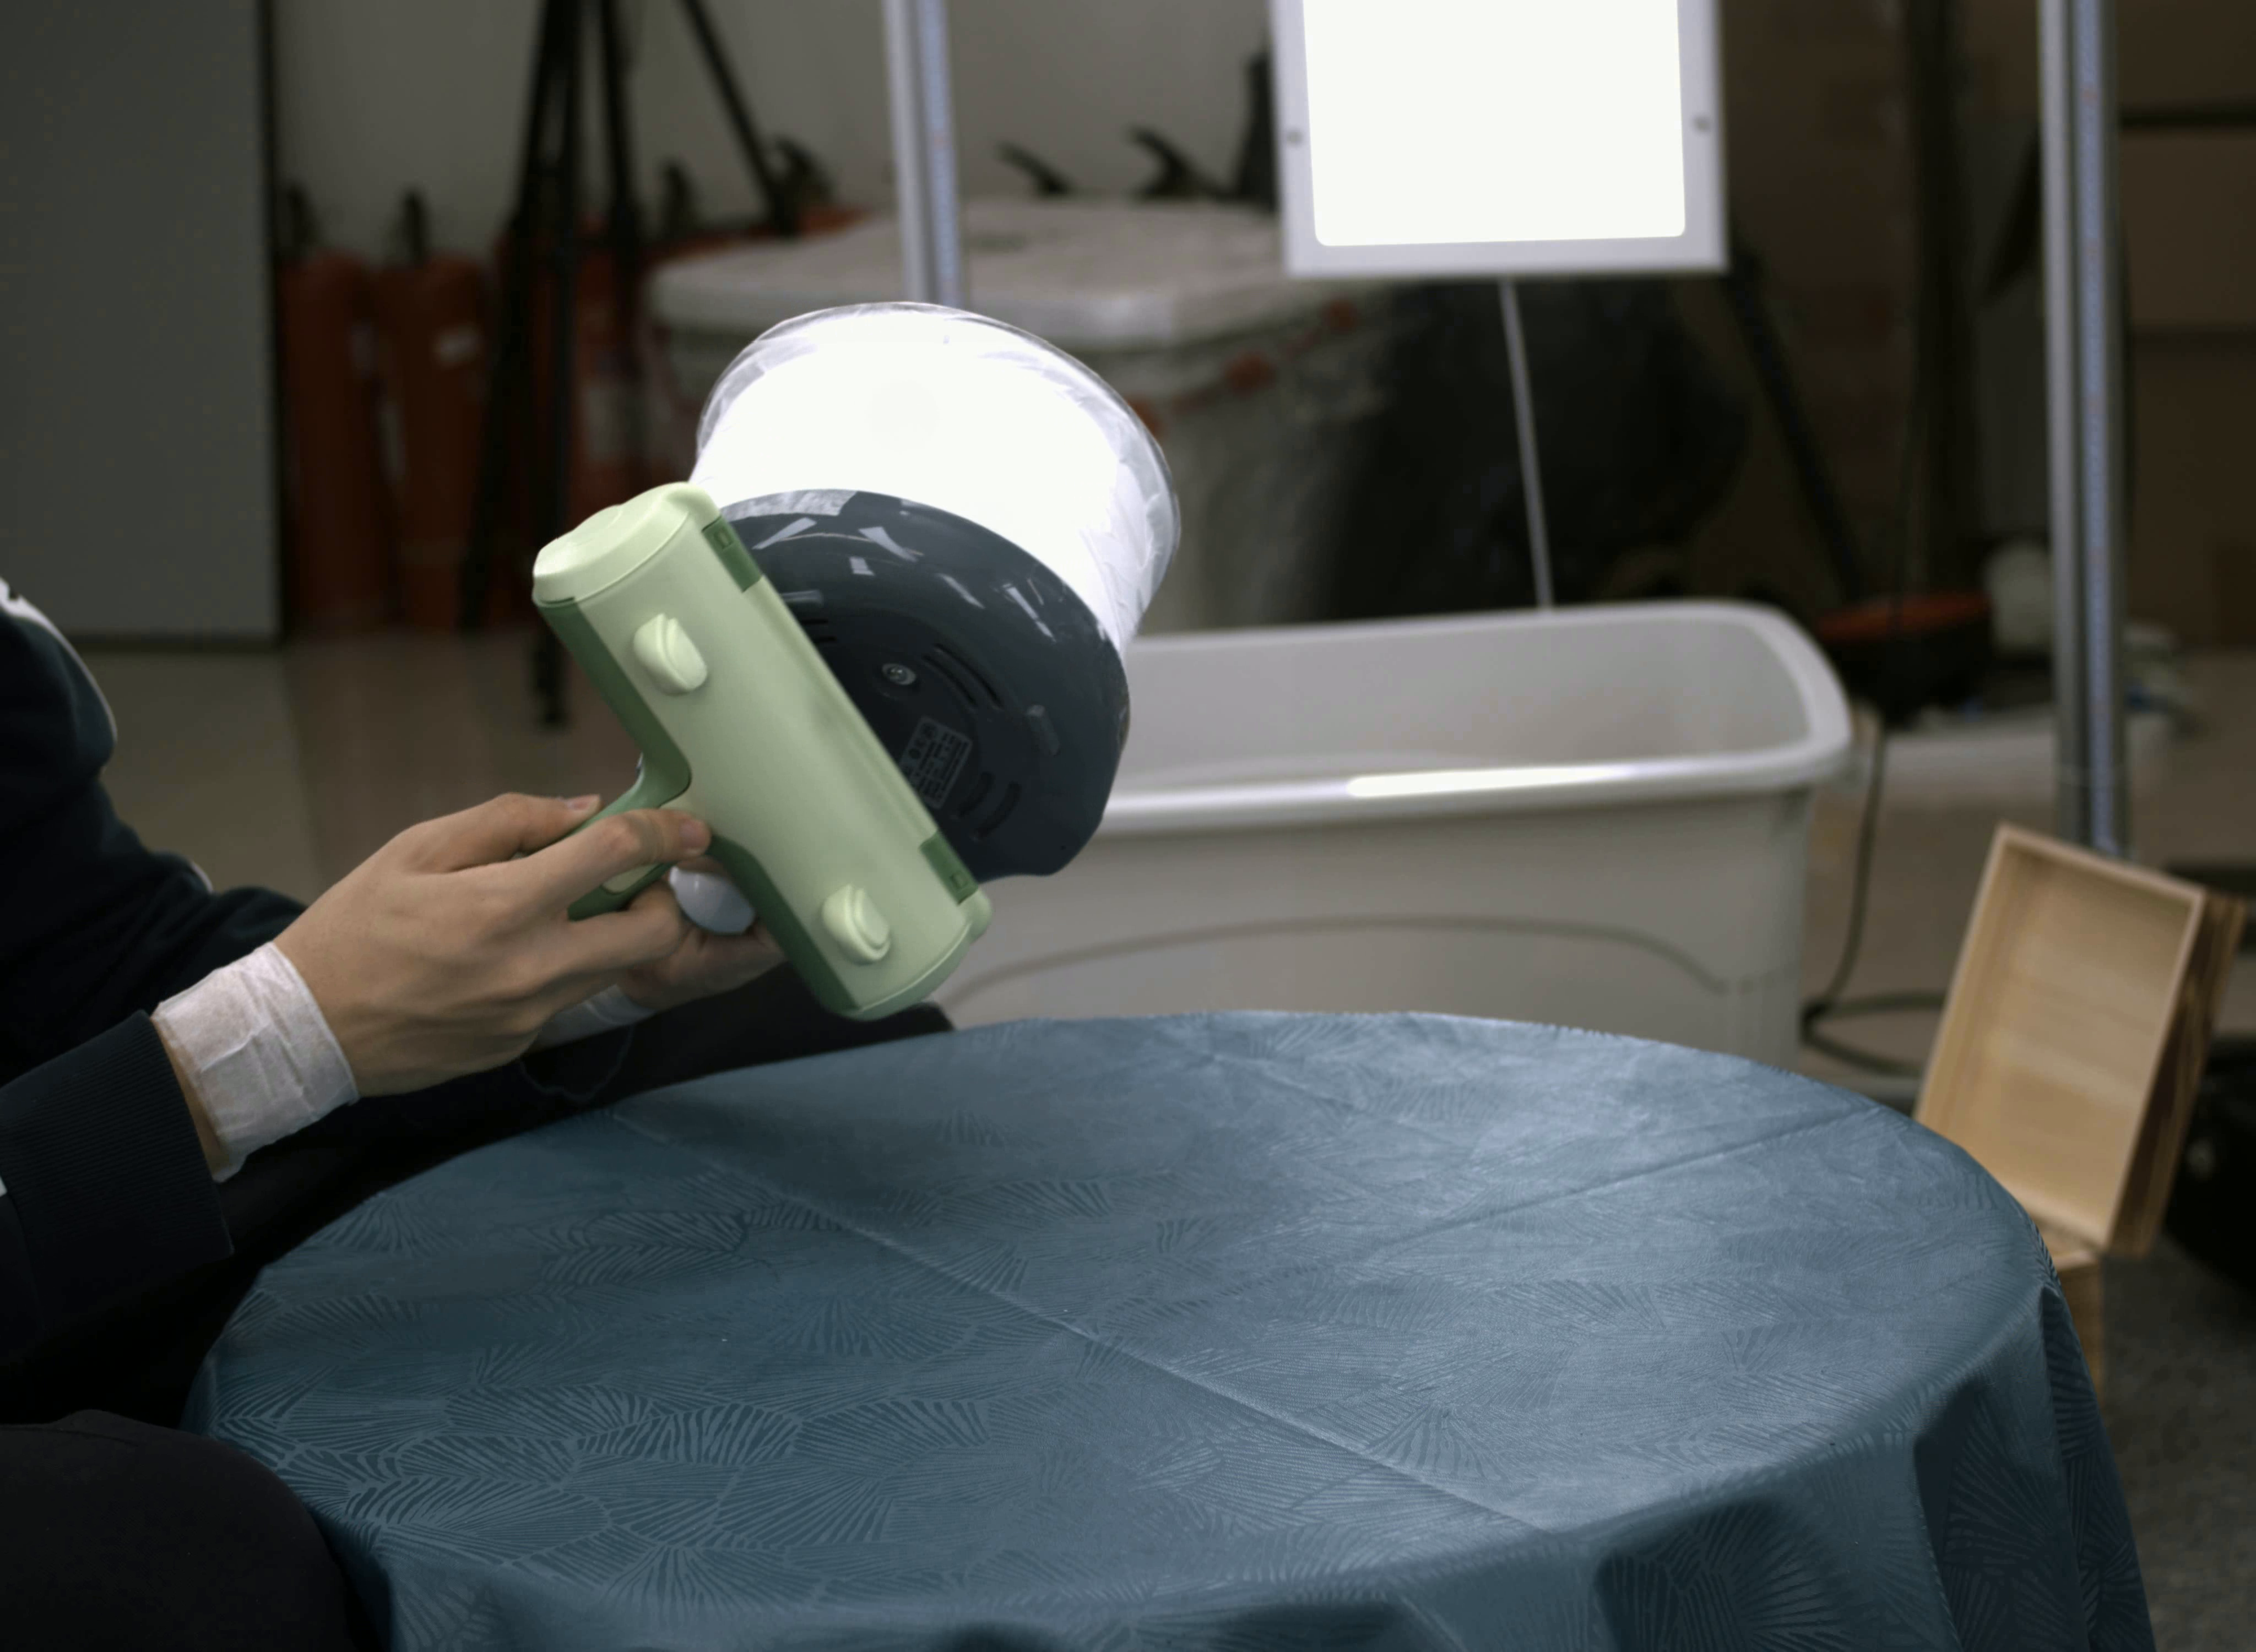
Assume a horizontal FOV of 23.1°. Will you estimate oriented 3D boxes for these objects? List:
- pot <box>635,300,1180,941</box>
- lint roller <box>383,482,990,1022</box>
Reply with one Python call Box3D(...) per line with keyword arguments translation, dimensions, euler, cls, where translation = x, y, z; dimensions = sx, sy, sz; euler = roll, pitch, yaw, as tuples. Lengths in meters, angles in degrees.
Box3D(translation=(-0.093, -0.059, 1.939), dimensions=(0.177, 0.238, 0.135), euler=(28, 48, -12), cls="pot")
Box3D(translation=(-0.164, 0.013, 1.827), dimensions=(0.182, 0.197, 0.083), euler=(-37, 23, -7), cls="lint roller")
